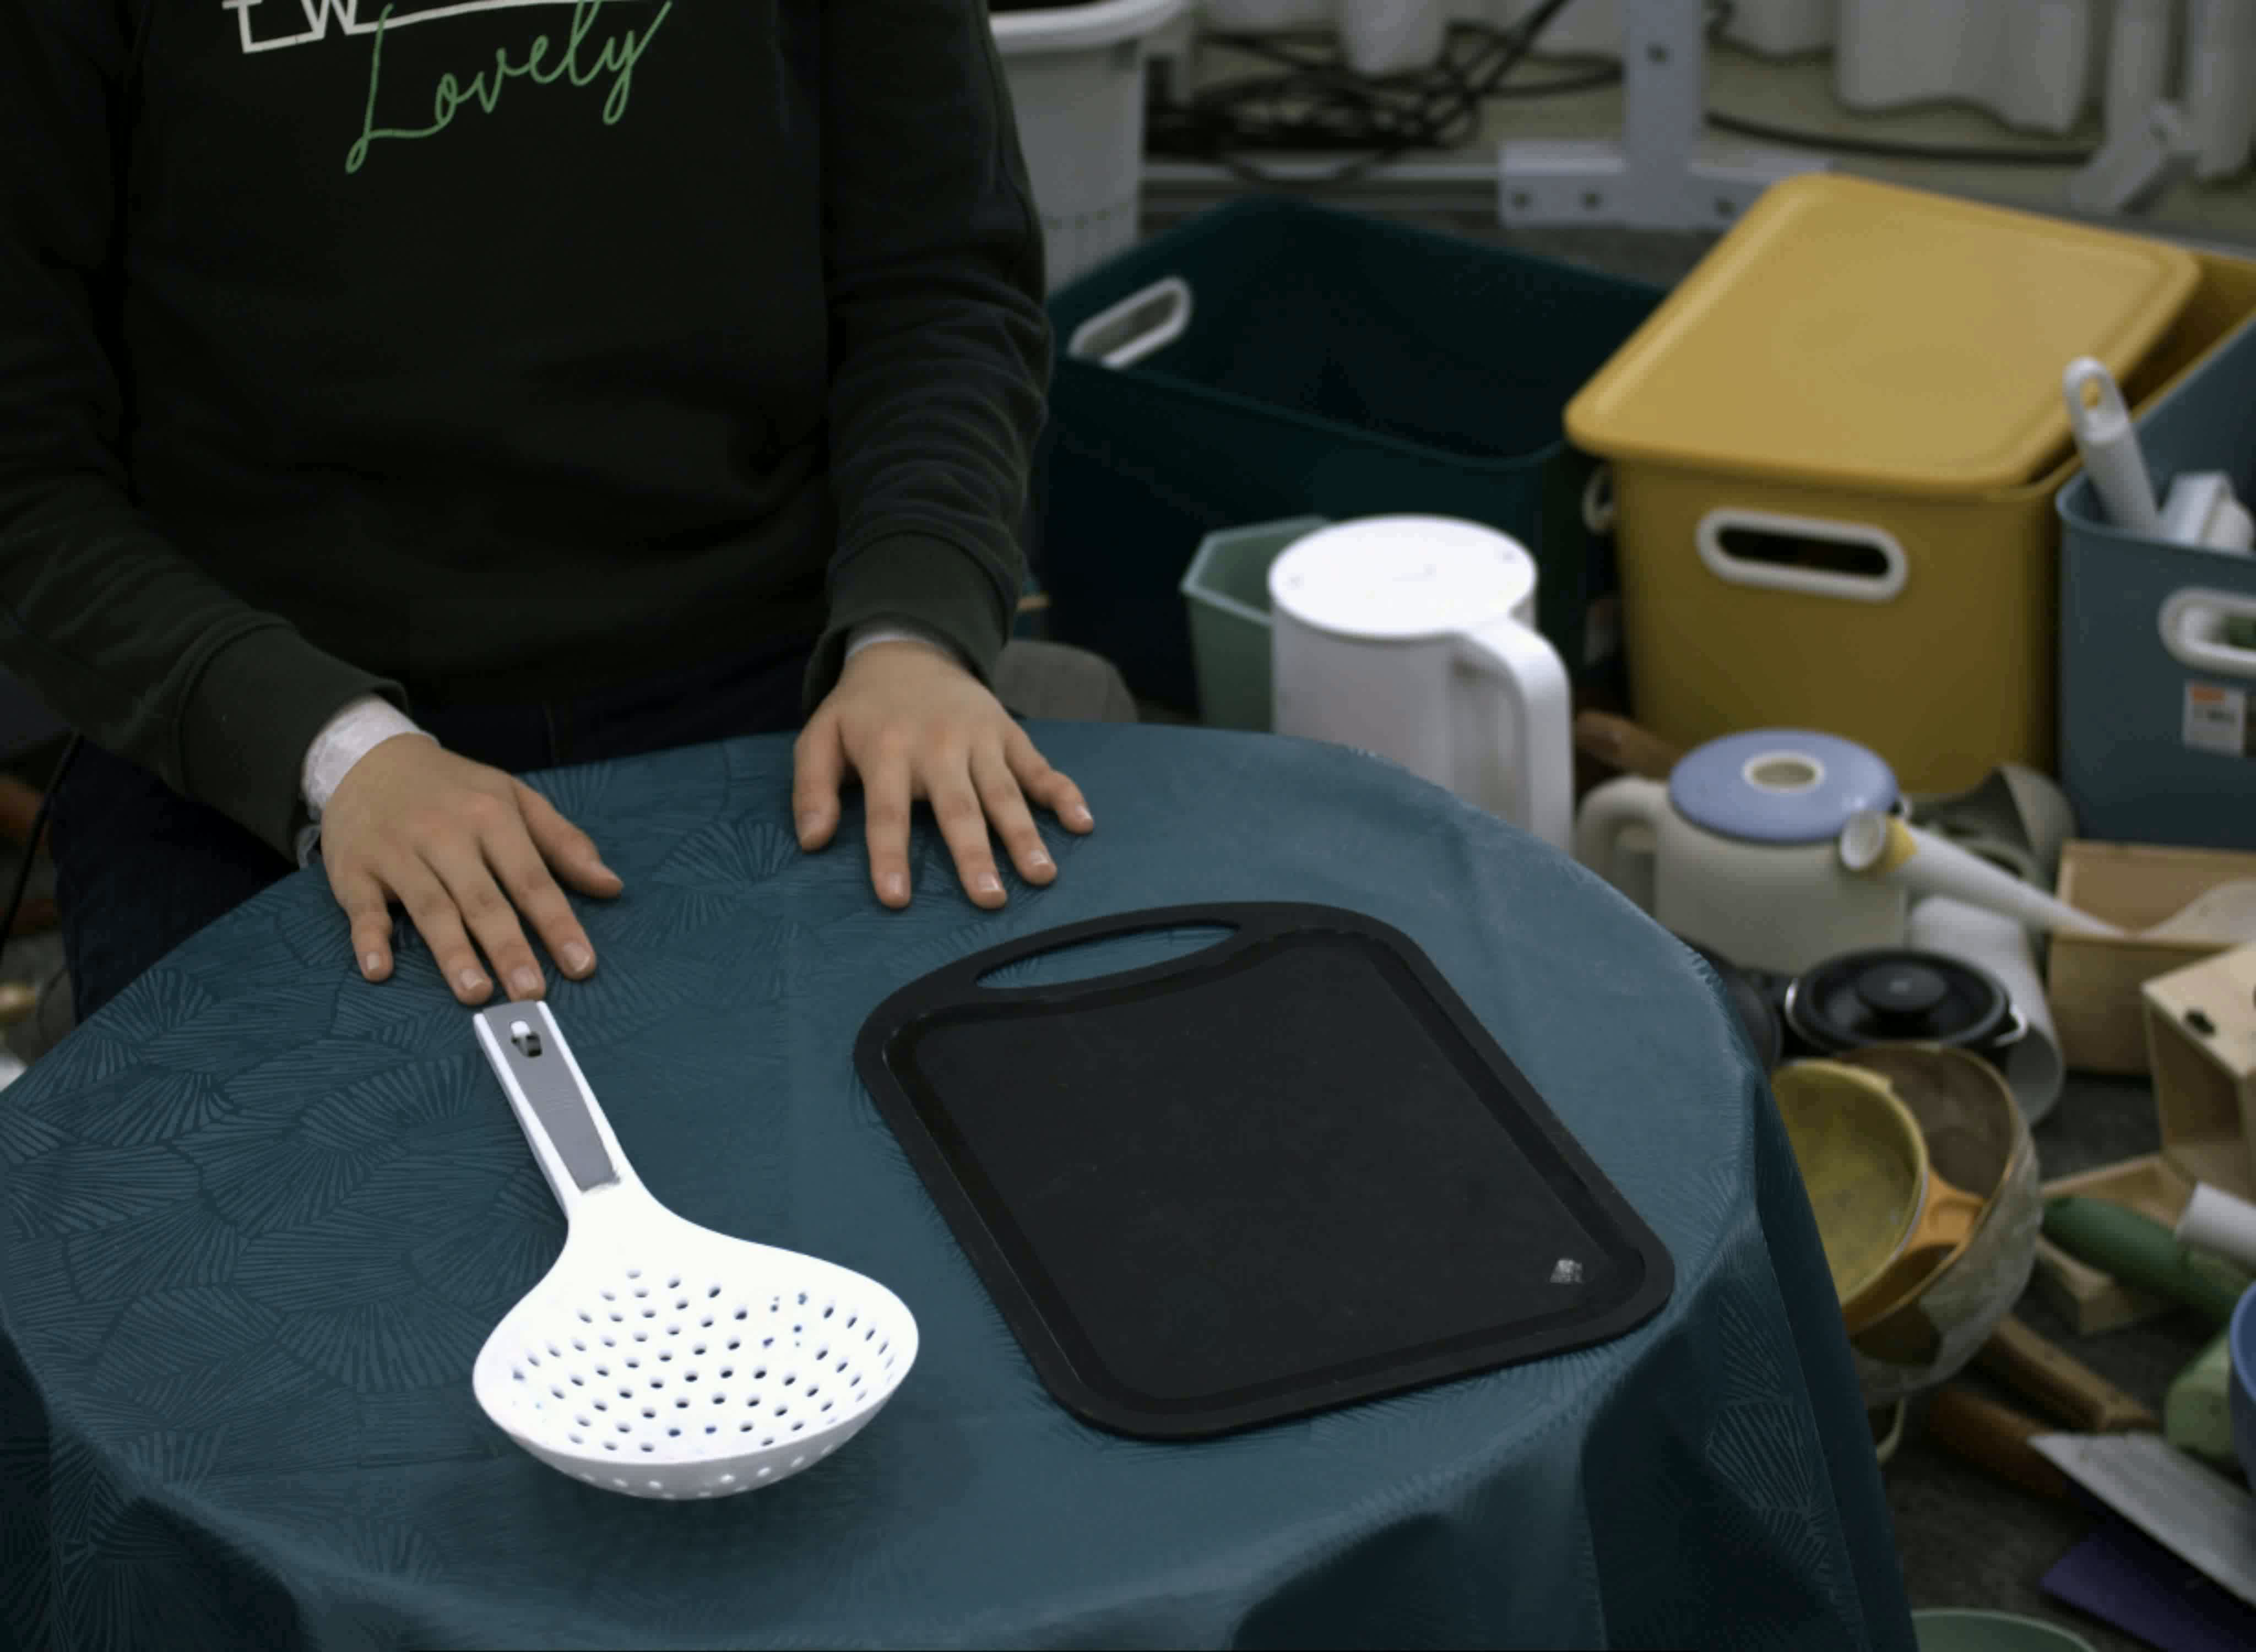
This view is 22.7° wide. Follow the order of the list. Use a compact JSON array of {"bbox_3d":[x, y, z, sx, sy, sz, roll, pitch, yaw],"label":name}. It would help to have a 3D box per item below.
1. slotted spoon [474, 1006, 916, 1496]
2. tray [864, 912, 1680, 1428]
[{"bbox_3d":[-0.164,0.131,1.811,0.136,0.045,0.353,-8,27,-15],"label":"slotted spoon"},{"bbox_3d":[0.038,0.105,1.881,0.211,0.009,0.328,-11,28,-15],"label":"tray"}]
